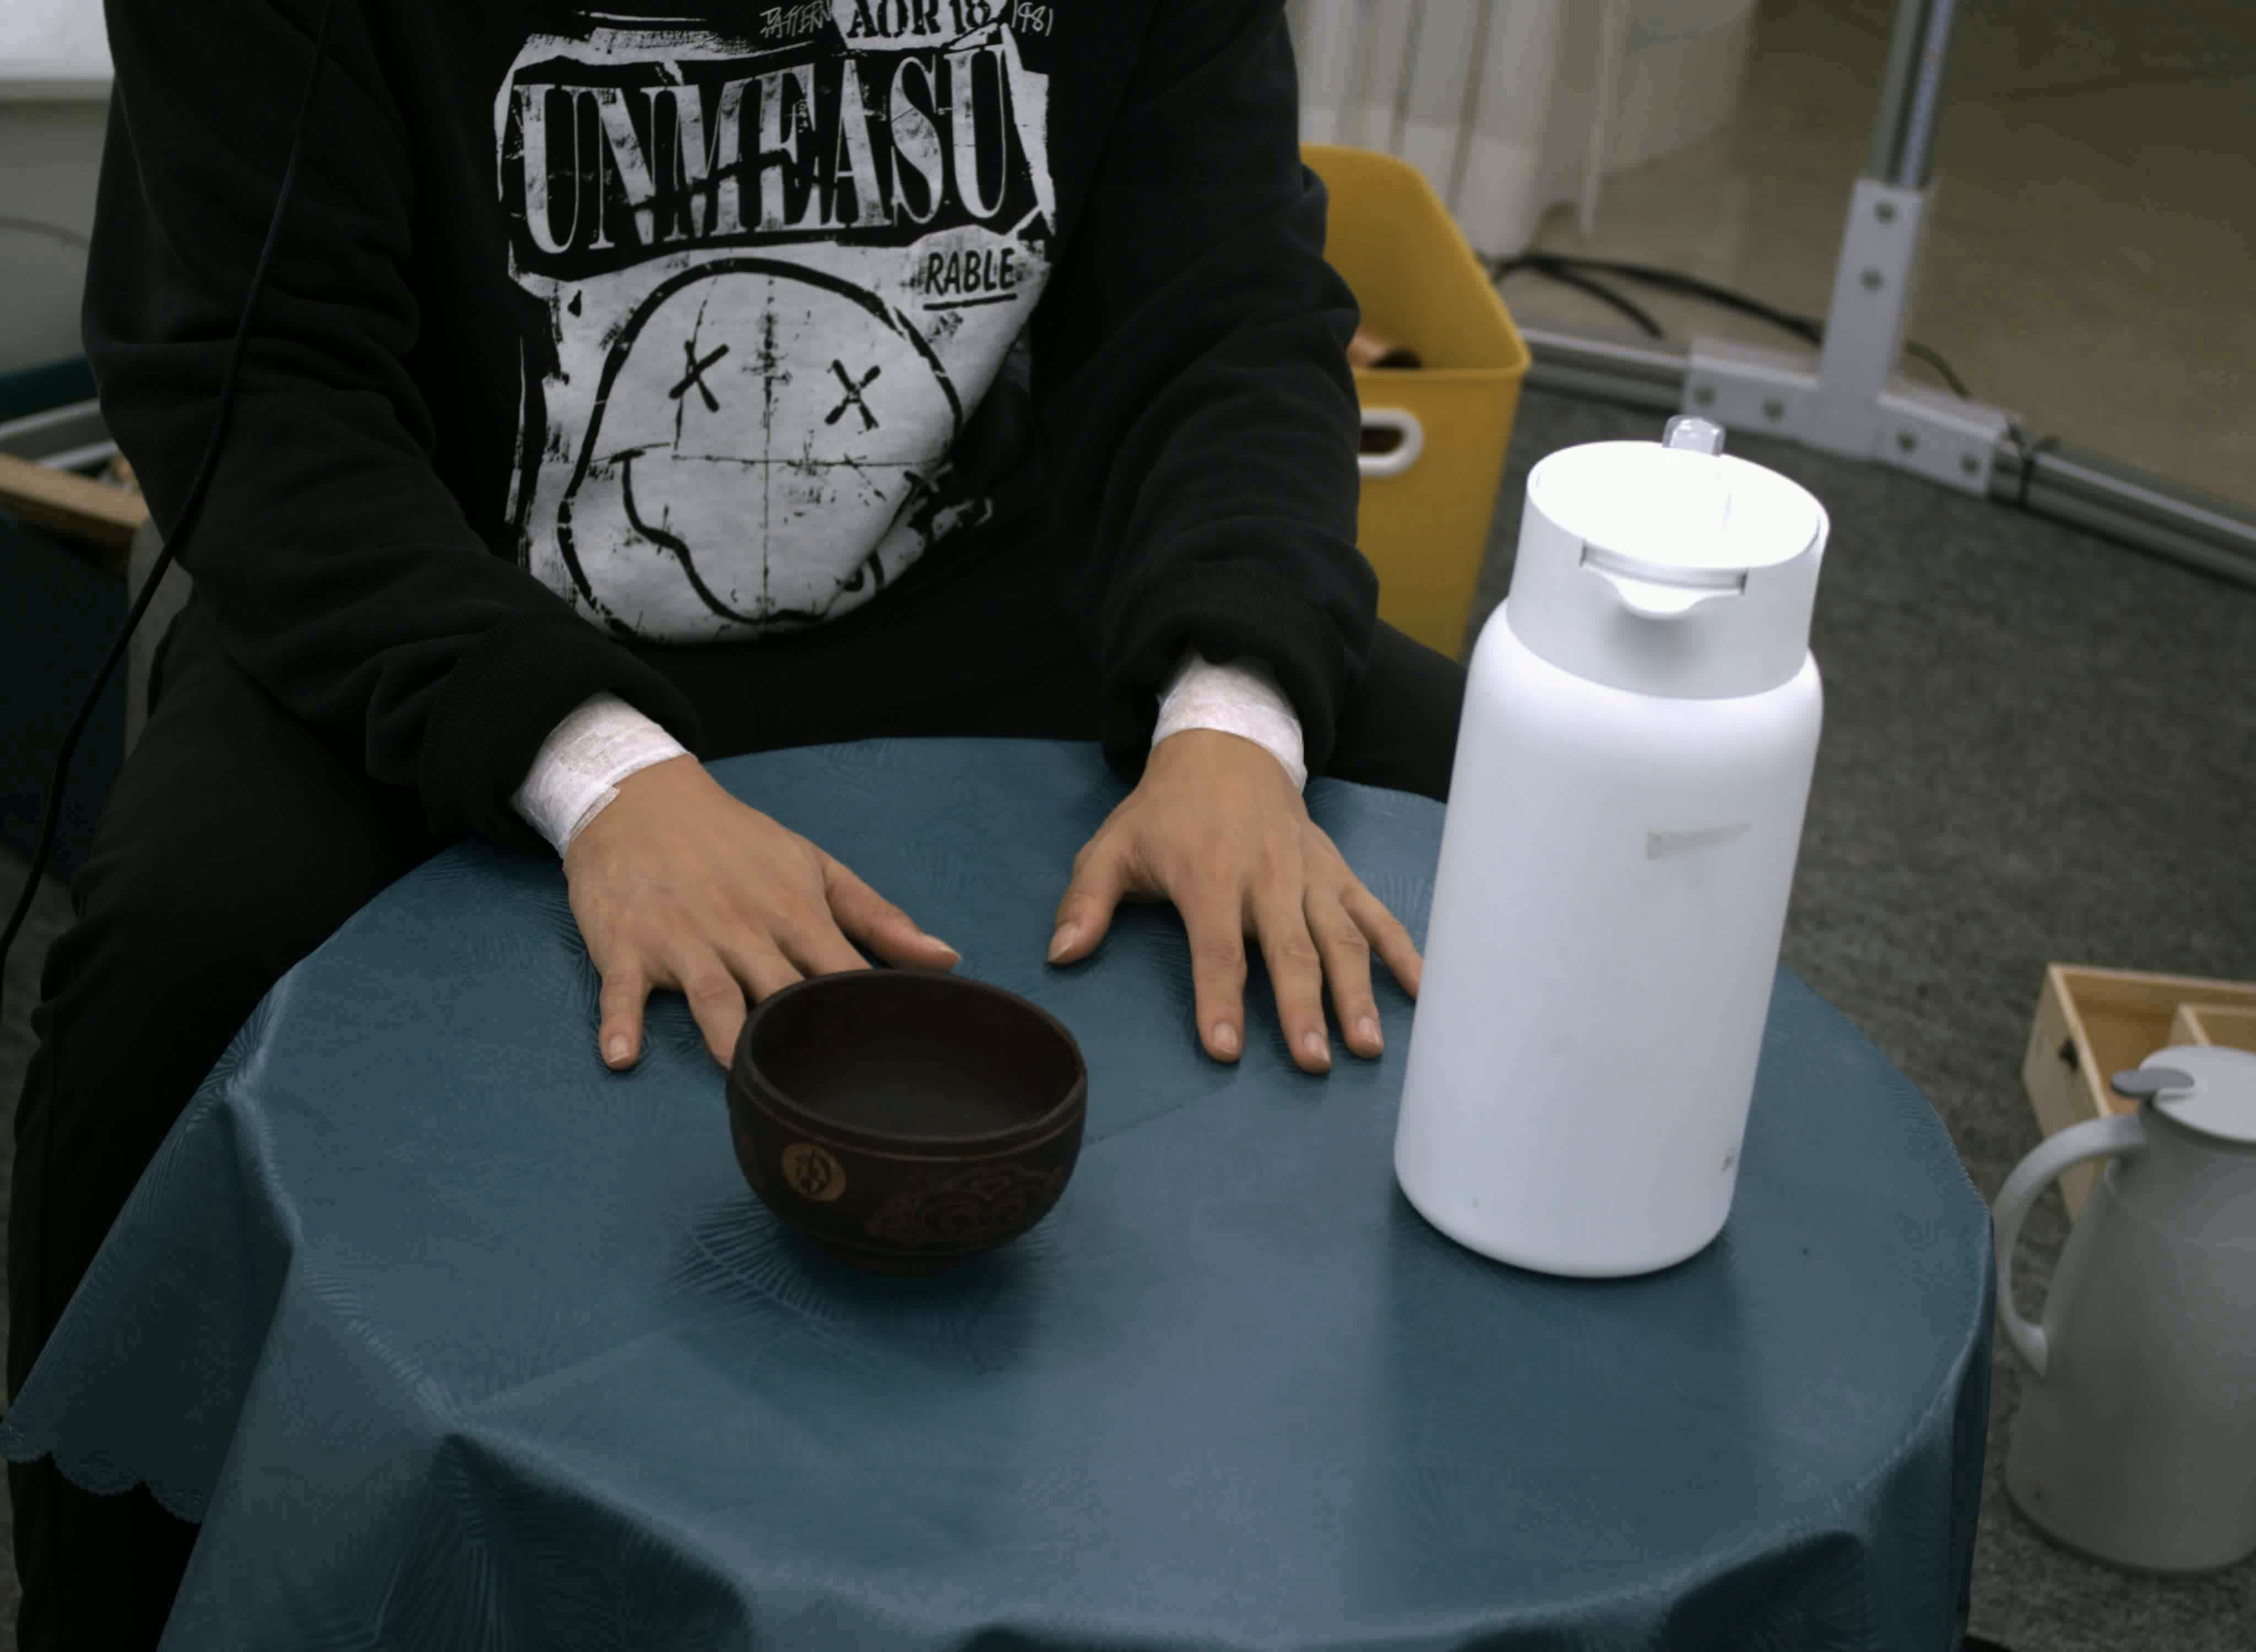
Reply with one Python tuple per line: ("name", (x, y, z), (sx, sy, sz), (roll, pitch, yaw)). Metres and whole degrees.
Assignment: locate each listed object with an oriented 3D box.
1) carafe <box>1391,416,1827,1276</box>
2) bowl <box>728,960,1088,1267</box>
("carafe", (0.163, 0.003, 1.786), (0.124, 0.268, 0.173), (8, 26, 6))
("bowl", (-0.074, 0.101, 1.751), (0.117, 0.069, 0.119), (5, 26, -3))
